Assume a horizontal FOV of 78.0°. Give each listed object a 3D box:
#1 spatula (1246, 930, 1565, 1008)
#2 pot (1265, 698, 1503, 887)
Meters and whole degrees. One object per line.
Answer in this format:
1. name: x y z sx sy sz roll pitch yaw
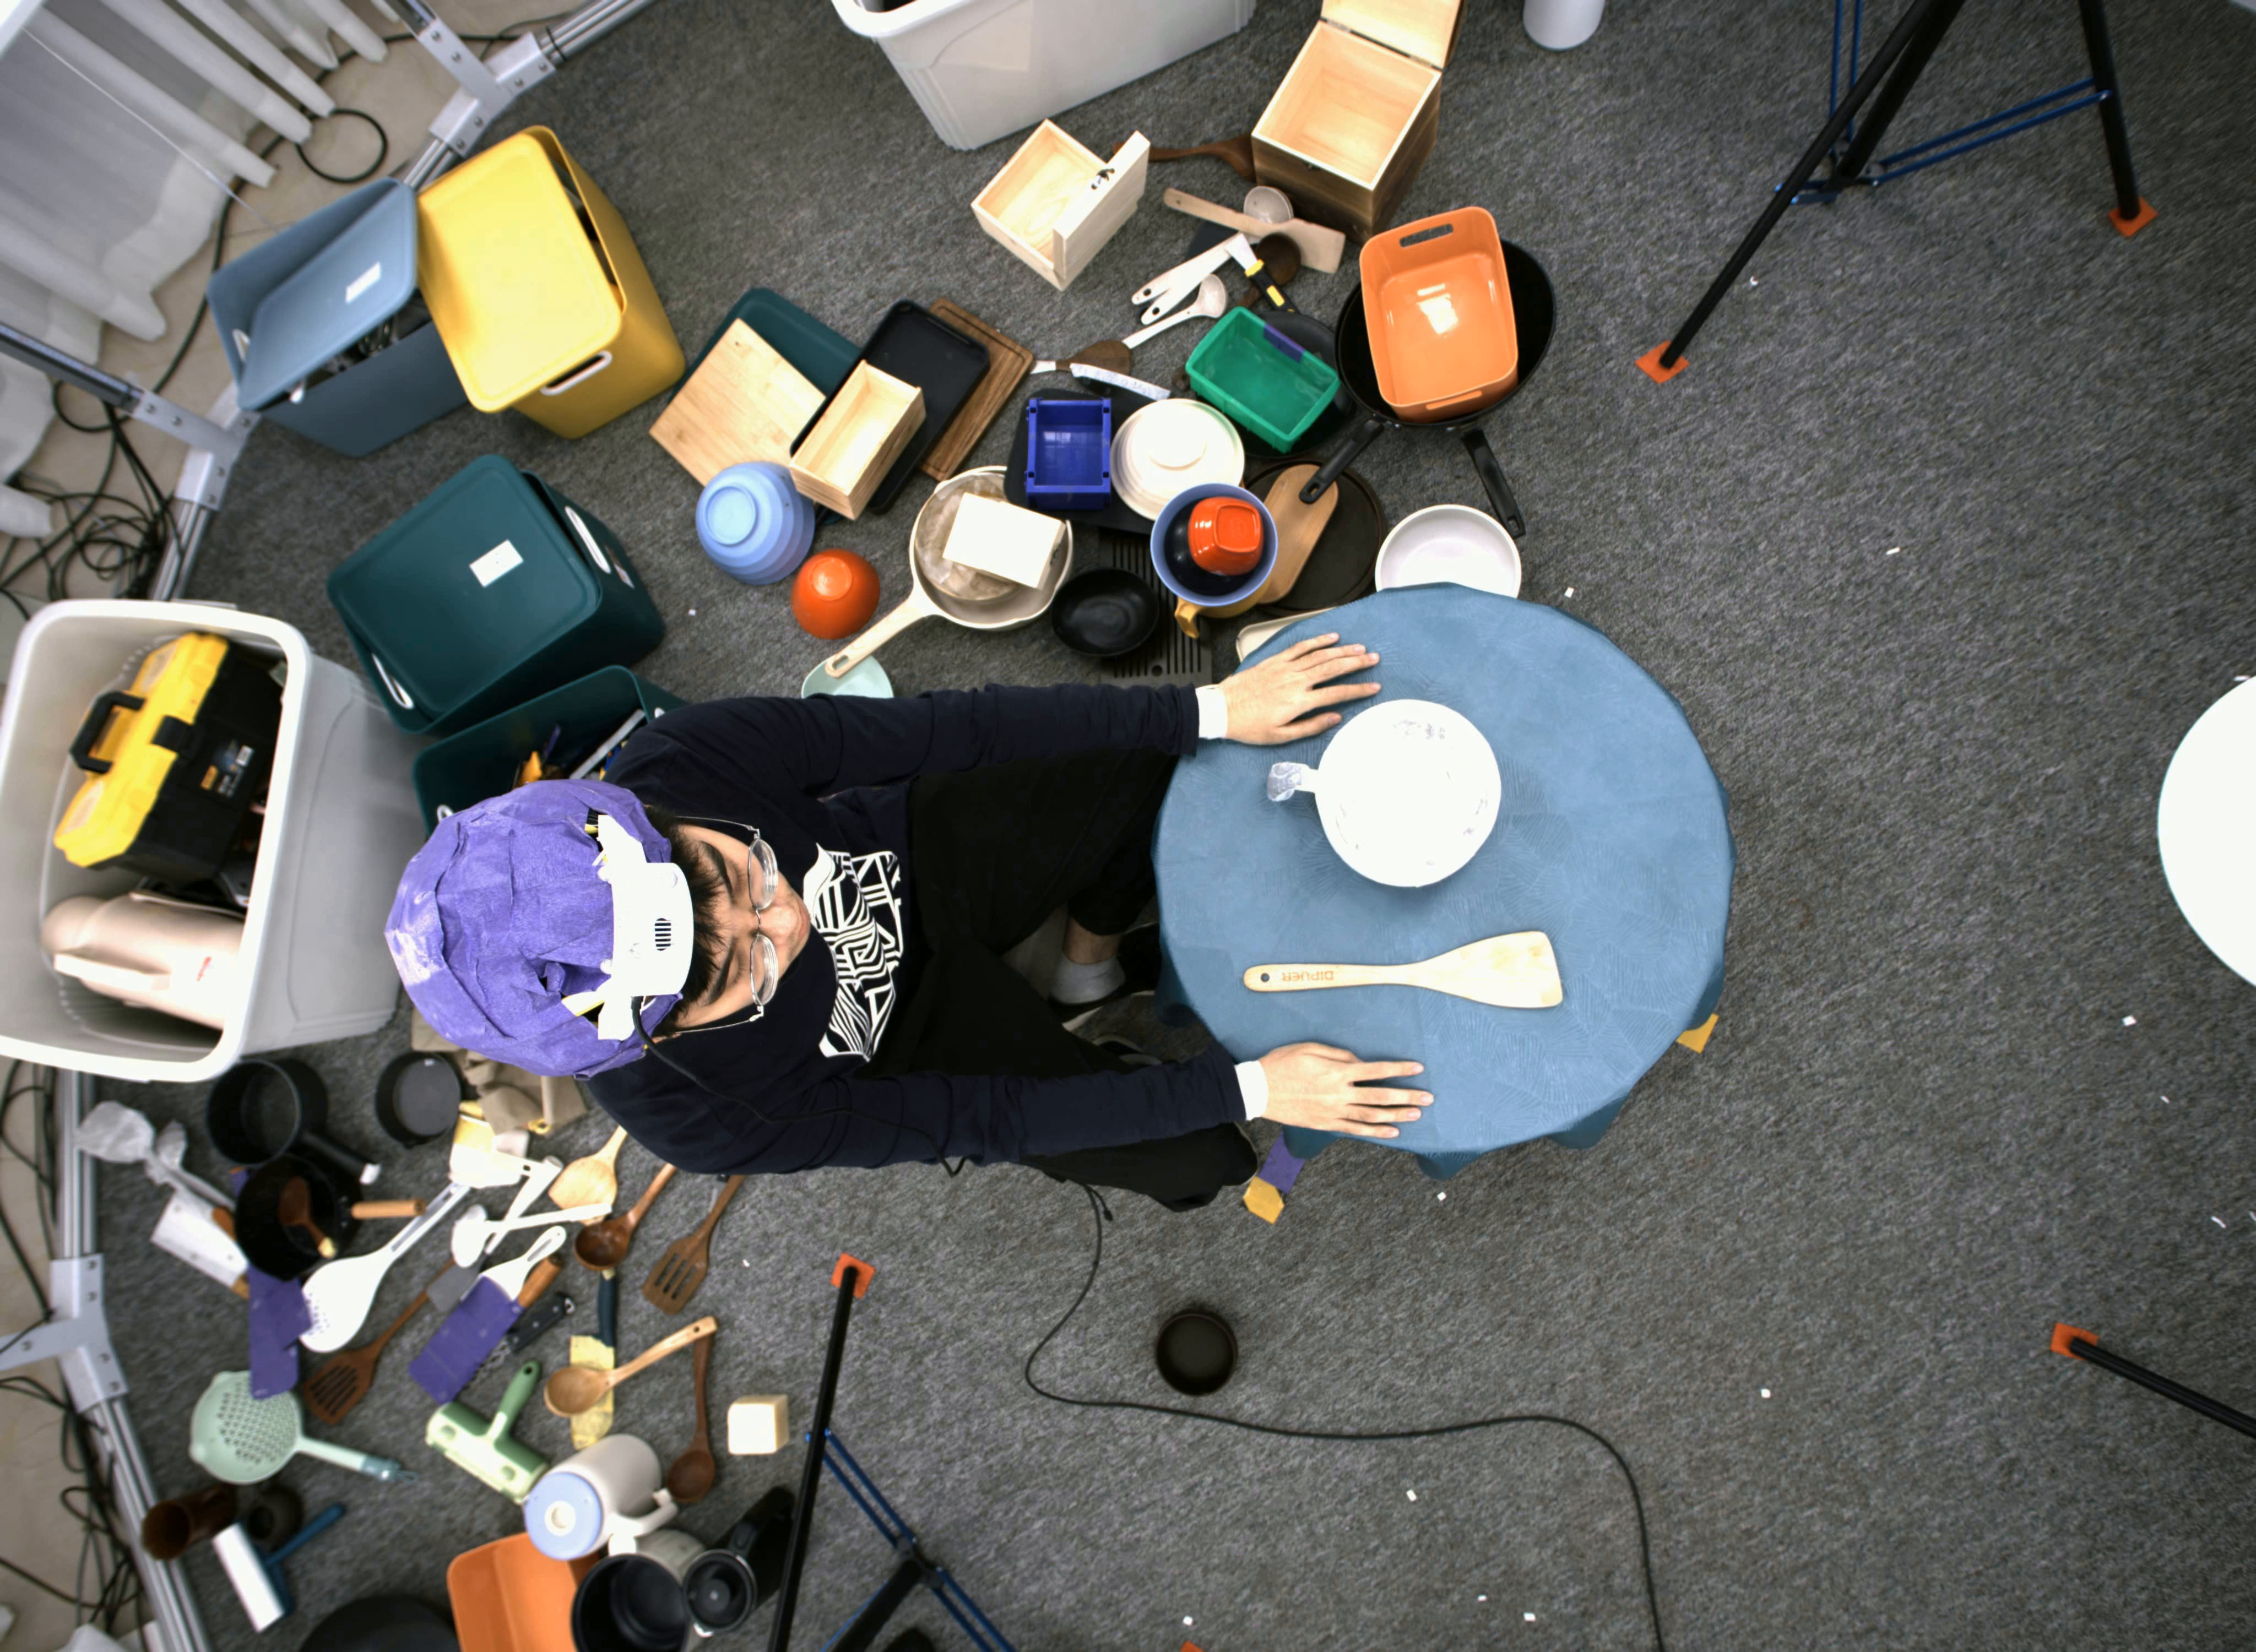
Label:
1. spatula: 0.286 0.152 1.444 0.329 0.016 0.079 -3 85 11
2. pot: 0.254 -0.034 1.396 0.234 0.137 0.178 7 86 9
